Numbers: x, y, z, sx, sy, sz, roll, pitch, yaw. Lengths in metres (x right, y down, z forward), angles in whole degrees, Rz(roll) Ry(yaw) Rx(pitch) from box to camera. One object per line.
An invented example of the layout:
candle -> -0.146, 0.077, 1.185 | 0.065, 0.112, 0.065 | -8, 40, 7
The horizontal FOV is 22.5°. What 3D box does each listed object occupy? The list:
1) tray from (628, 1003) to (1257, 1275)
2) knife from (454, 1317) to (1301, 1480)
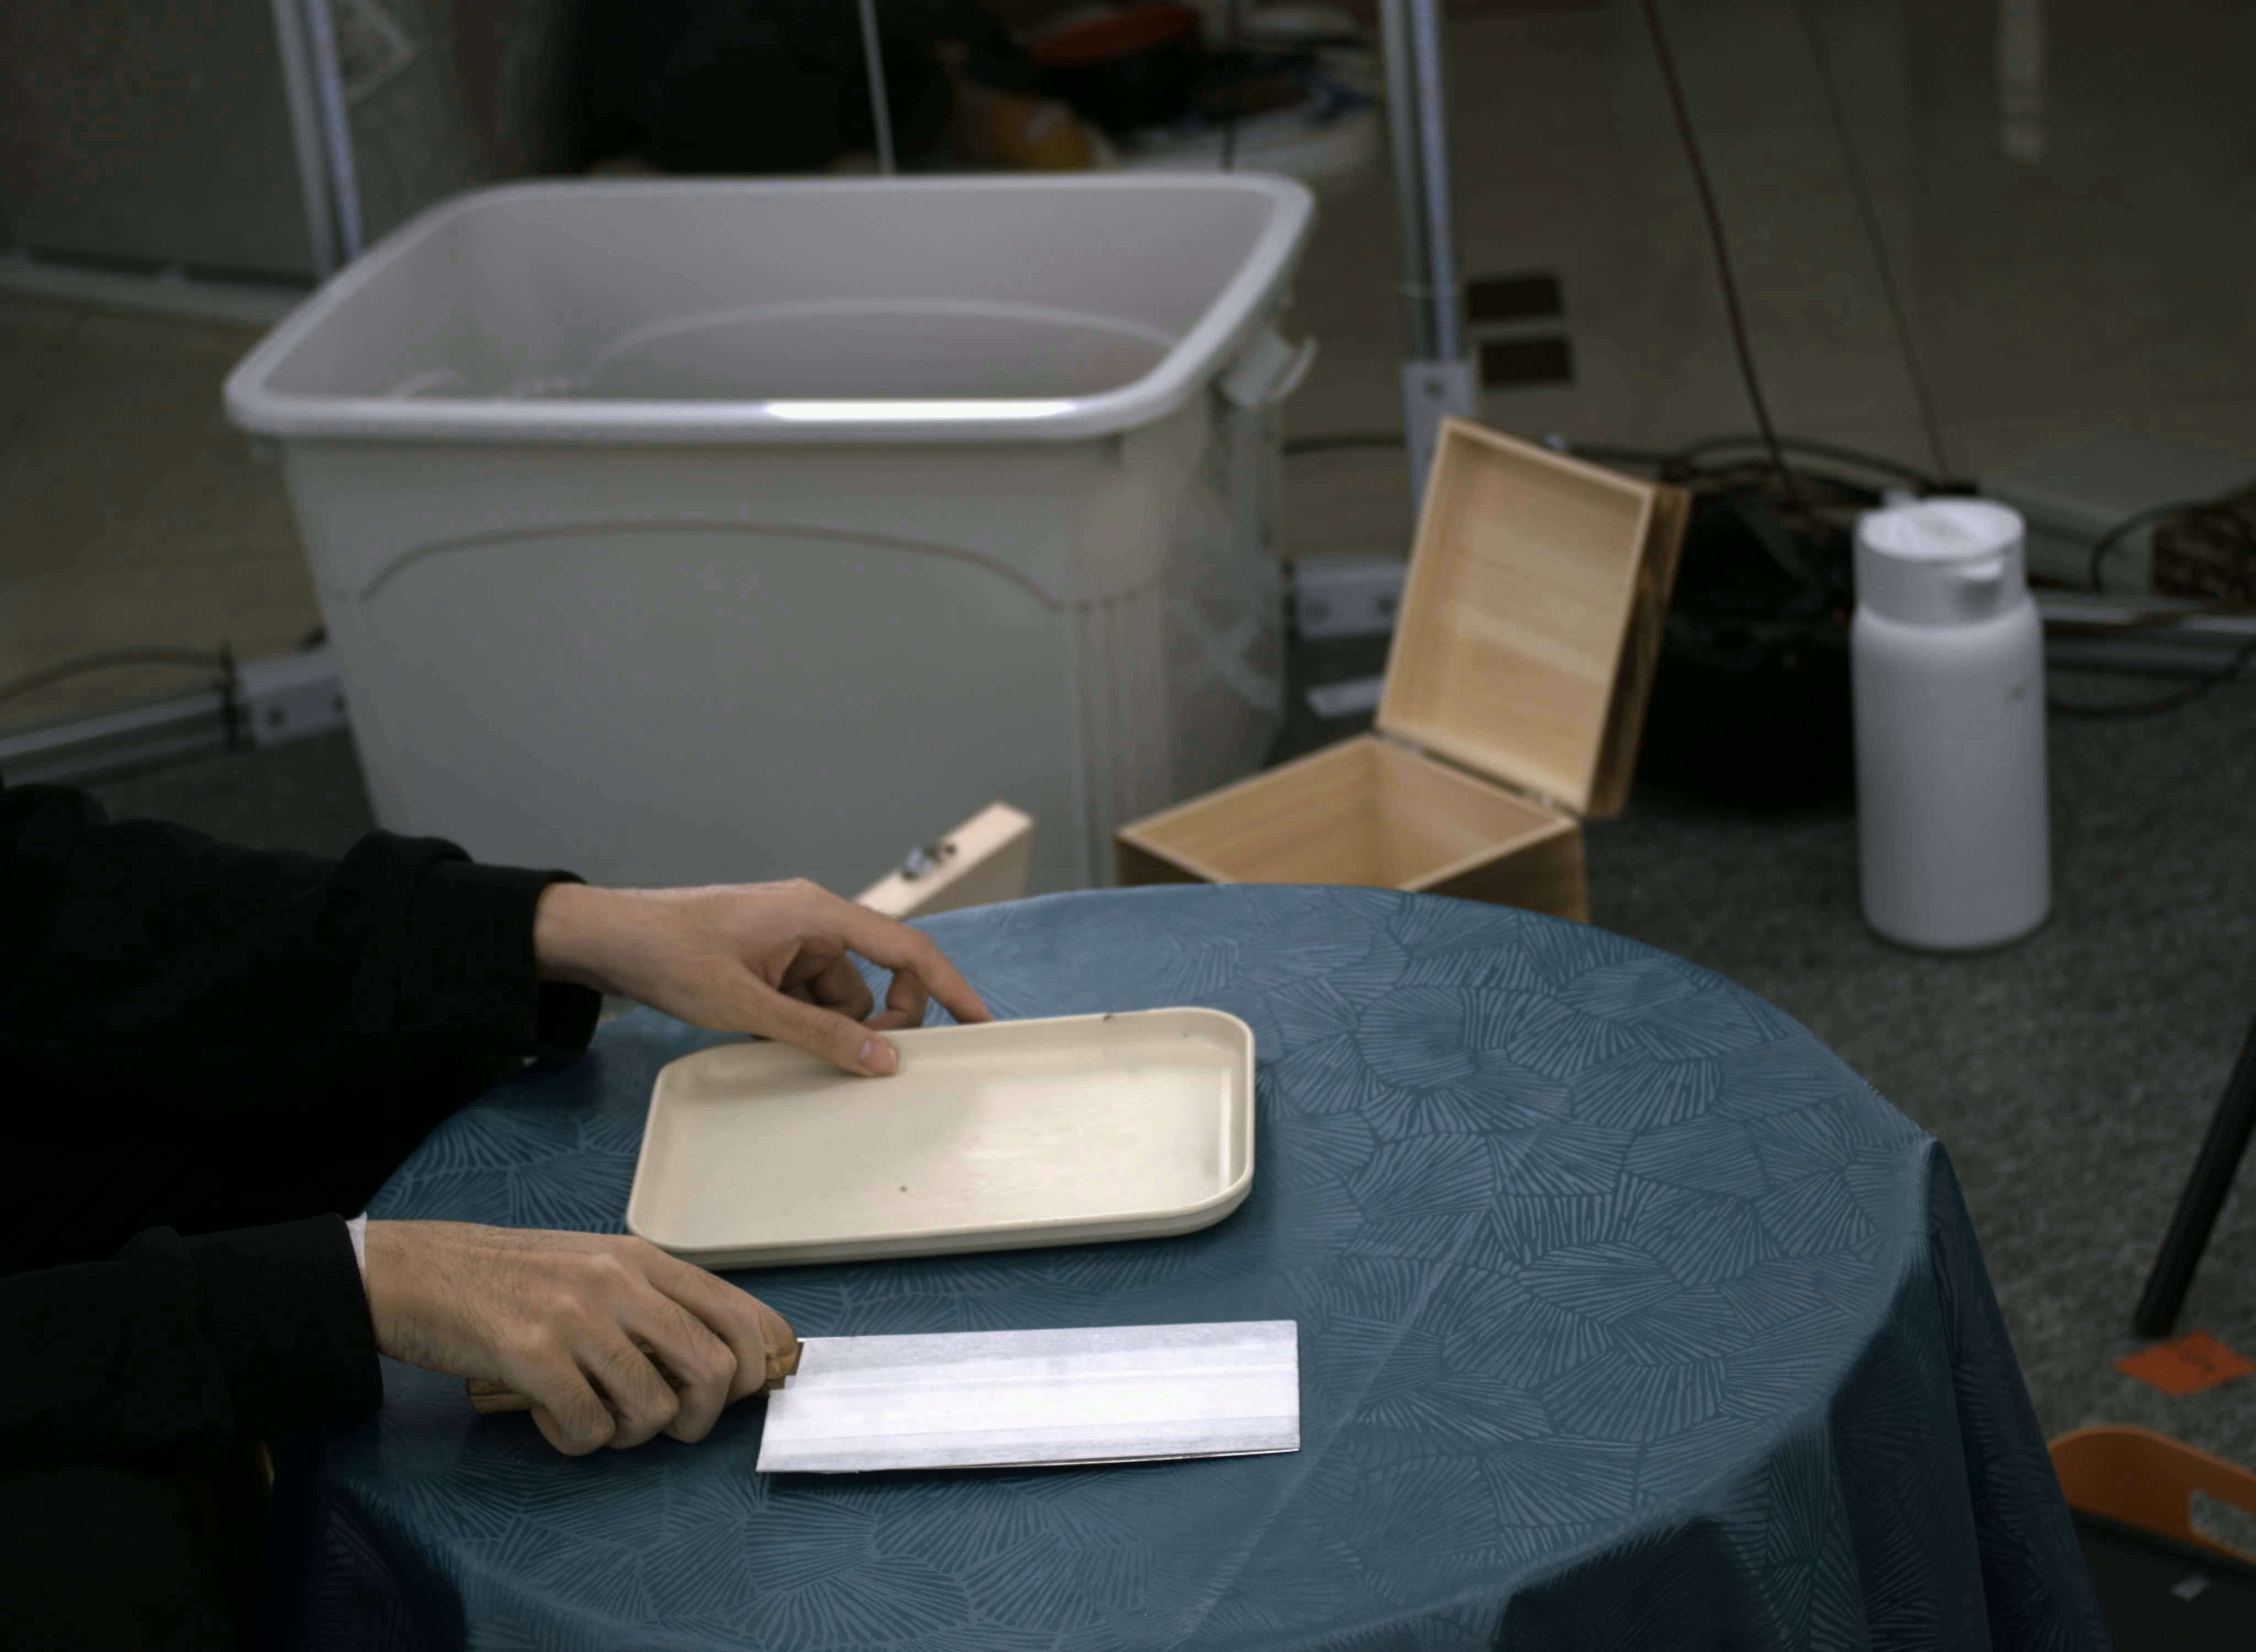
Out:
tray -> -0.069, 0.121, 2.179 | 0.239, 0.018, 0.168 | -5, 26, 4
knife -> -0.091, 0.203, 2.013 | 0.305, 0.021, 0.091 | -3, 27, 2
